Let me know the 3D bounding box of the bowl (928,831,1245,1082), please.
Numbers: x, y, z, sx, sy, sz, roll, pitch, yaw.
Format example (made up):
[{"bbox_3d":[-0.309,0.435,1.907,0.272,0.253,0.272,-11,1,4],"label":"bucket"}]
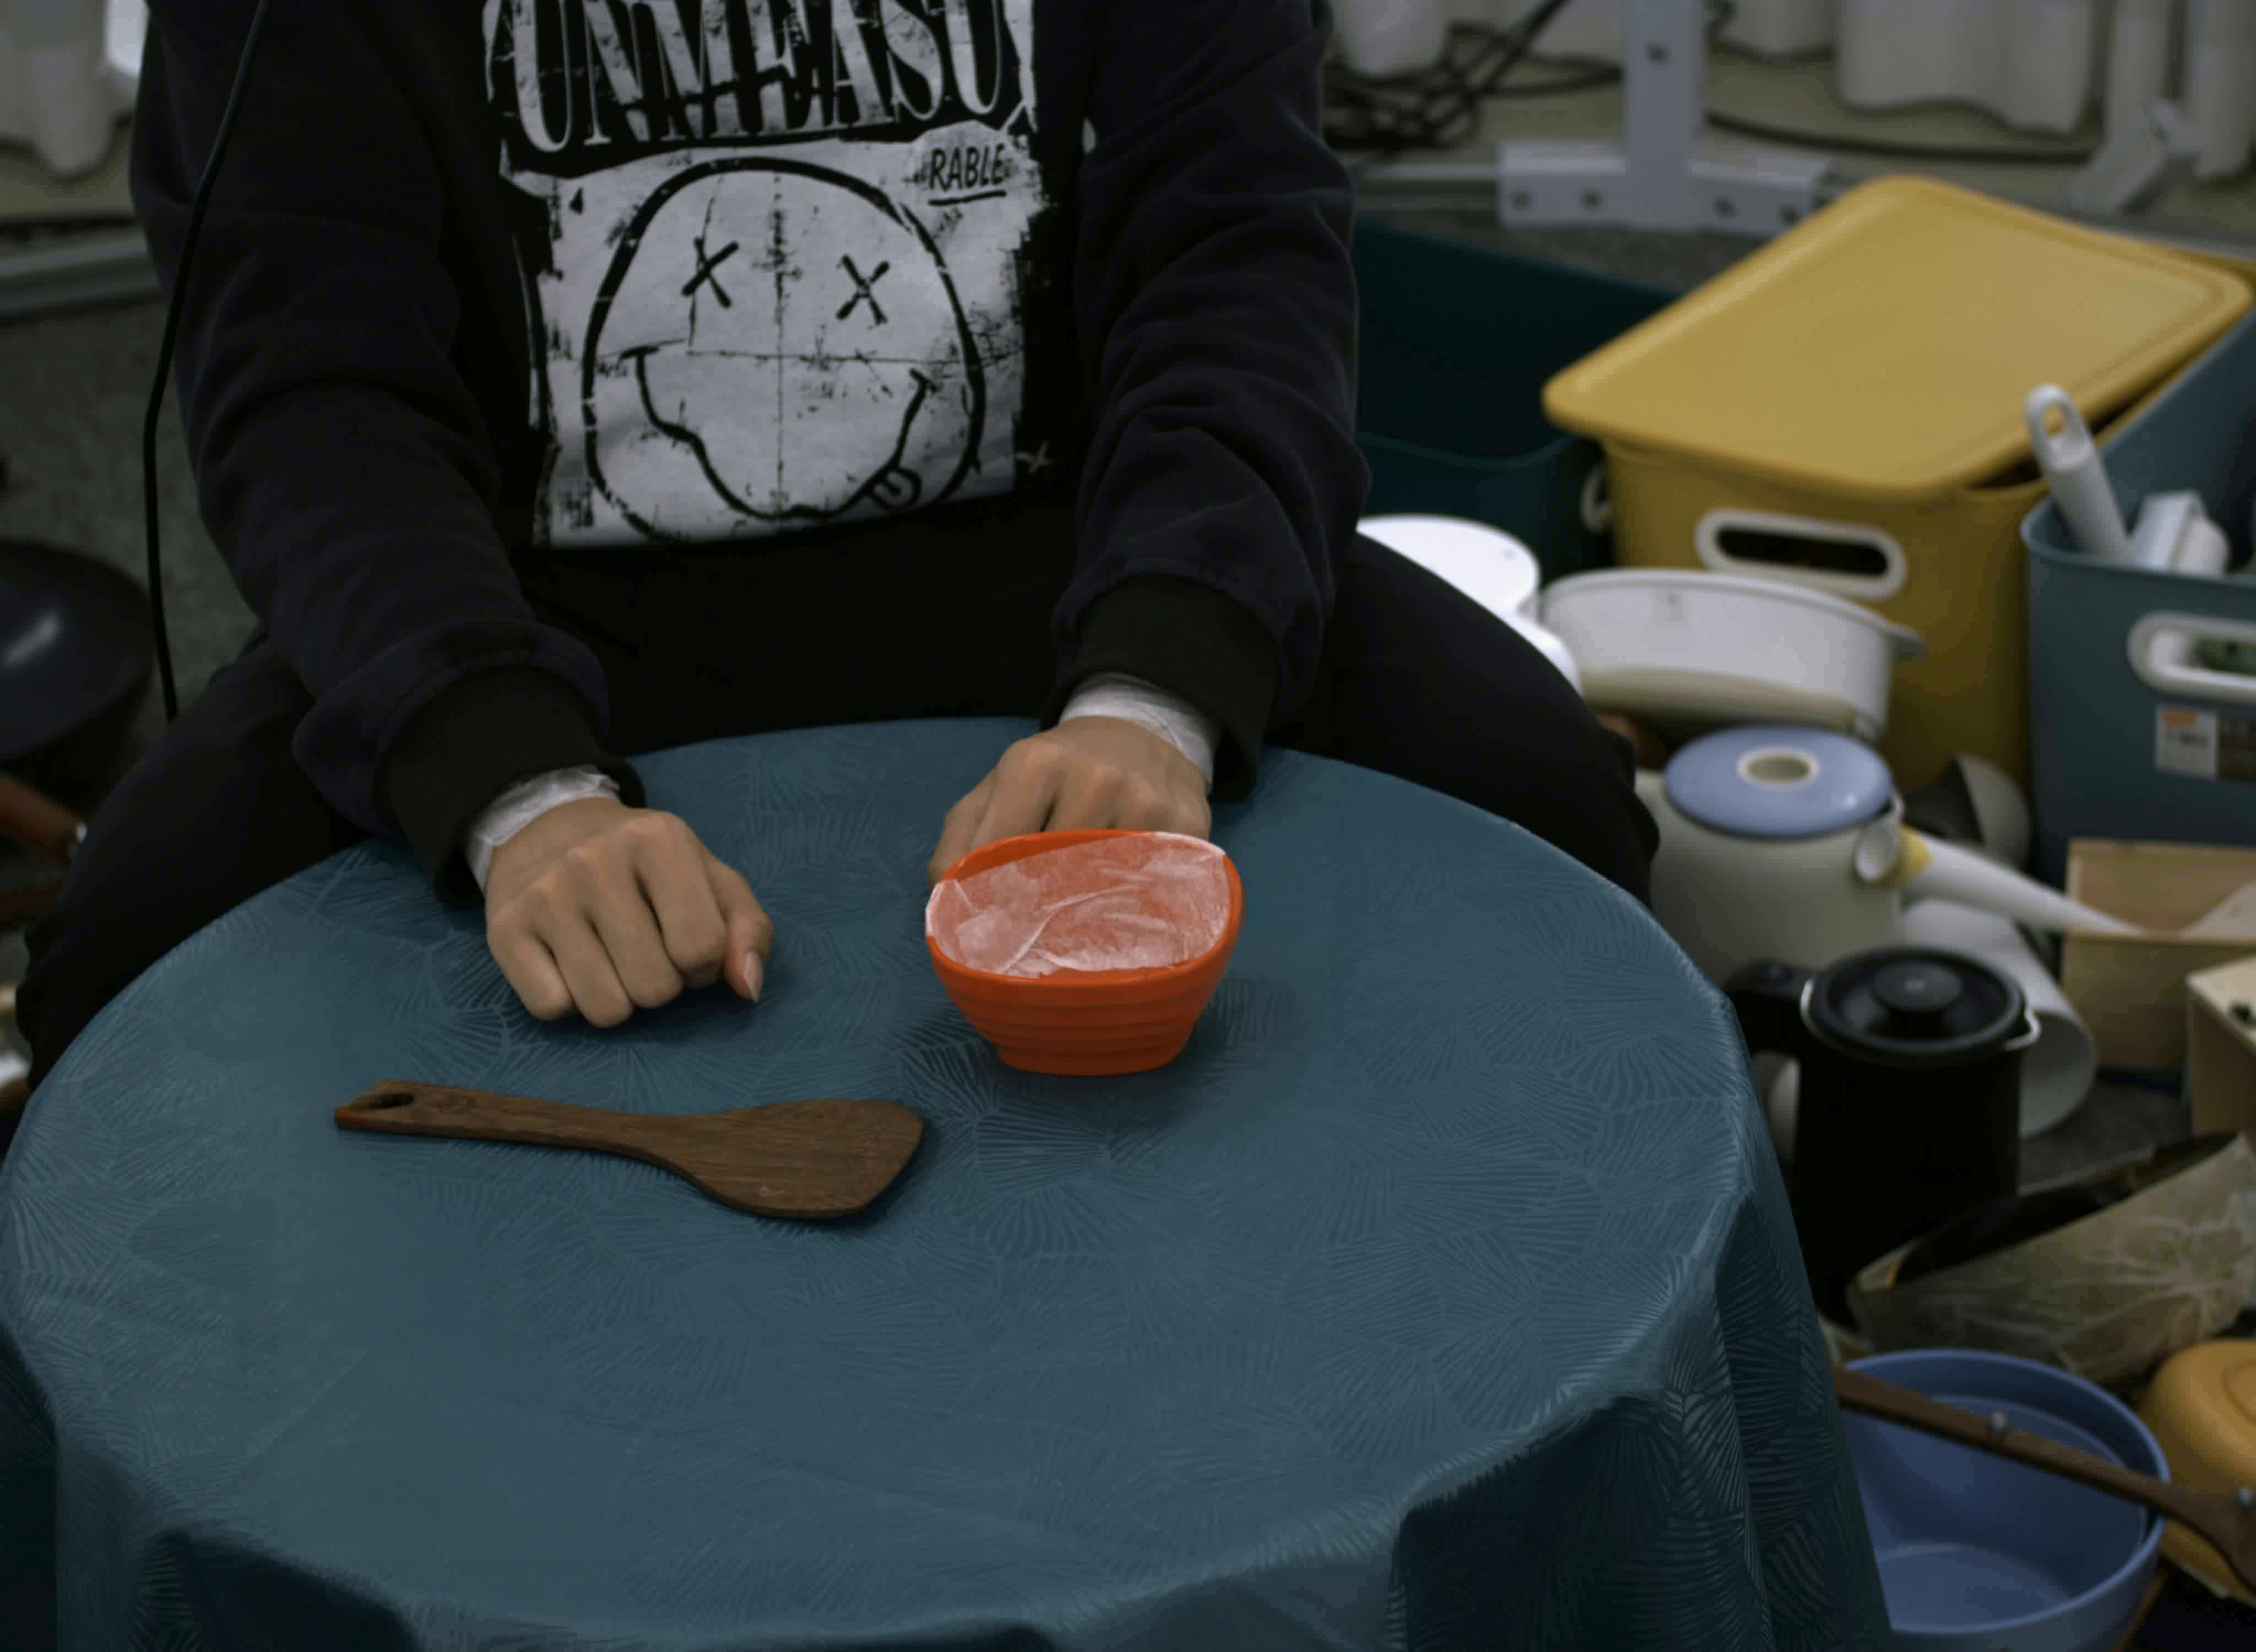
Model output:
[{"bbox_3d":[-0.013,0.050,1.949,0.118,0.051,0.121,-3,28,2],"label":"bowl"}]

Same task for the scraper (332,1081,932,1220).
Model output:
[{"bbox_3d":[-0.171,0.105,1.902,0.210,0.011,0.077,5,28,17],"label":"scraper"}]
